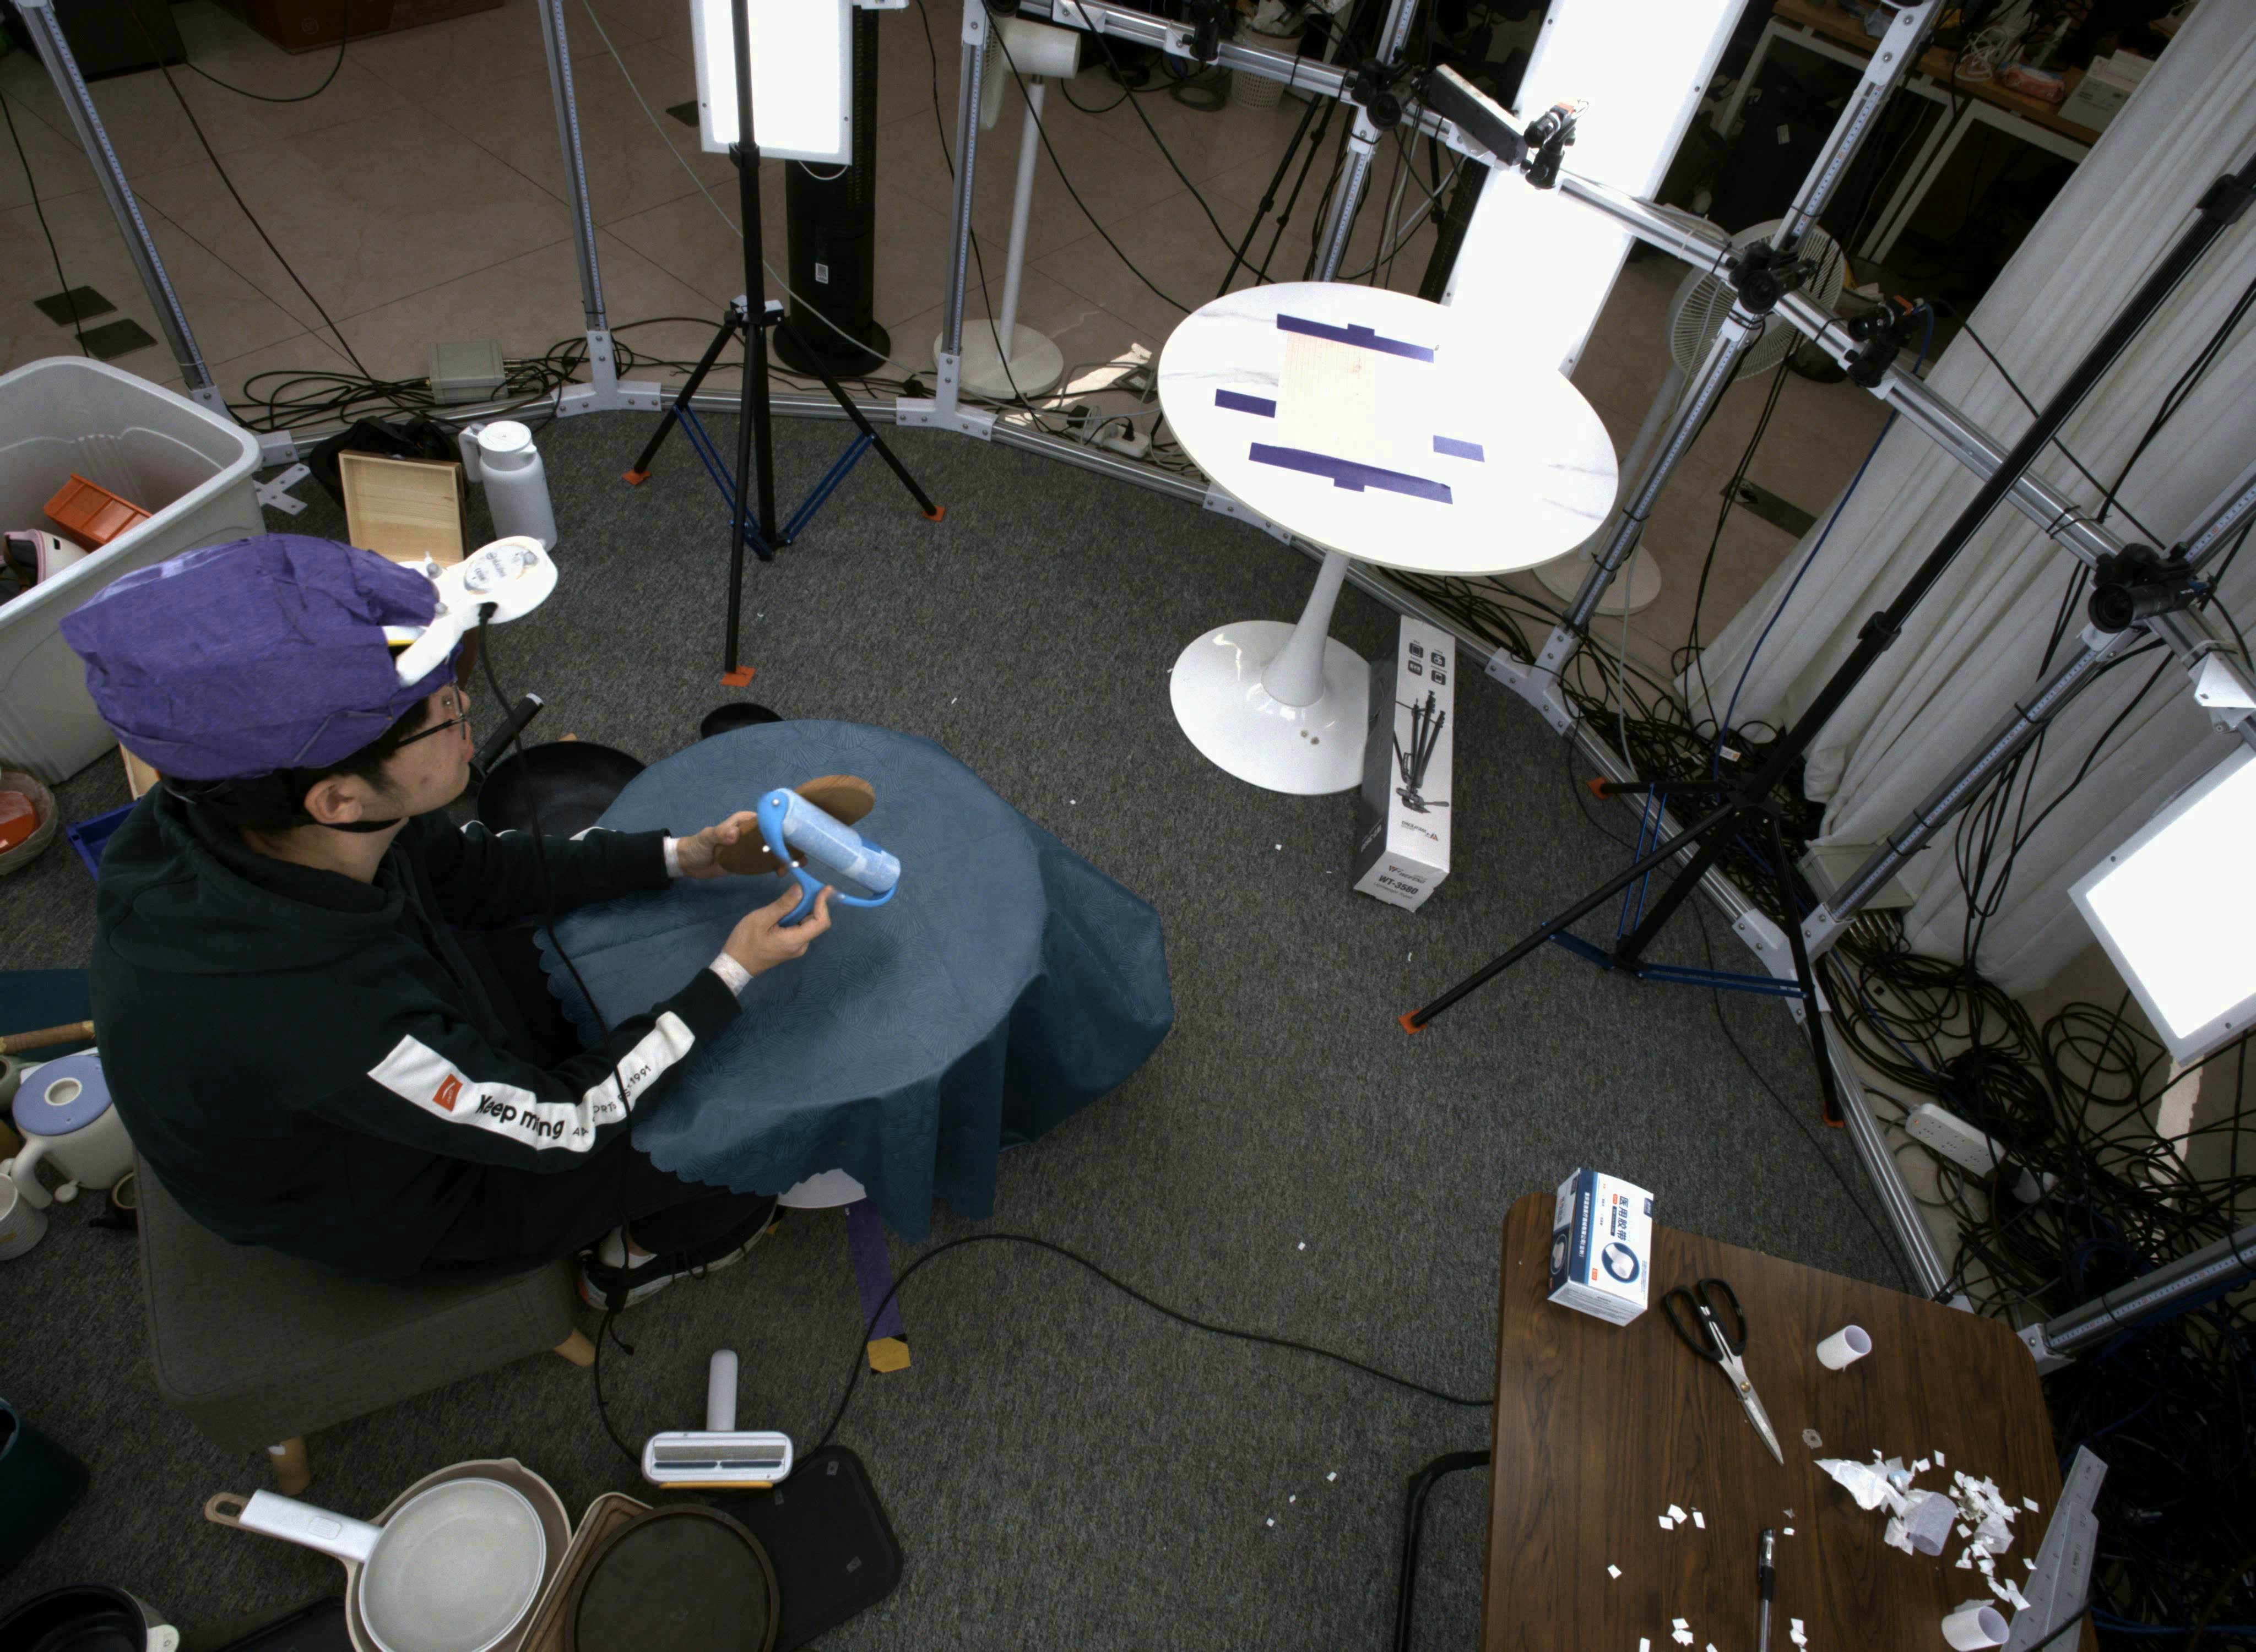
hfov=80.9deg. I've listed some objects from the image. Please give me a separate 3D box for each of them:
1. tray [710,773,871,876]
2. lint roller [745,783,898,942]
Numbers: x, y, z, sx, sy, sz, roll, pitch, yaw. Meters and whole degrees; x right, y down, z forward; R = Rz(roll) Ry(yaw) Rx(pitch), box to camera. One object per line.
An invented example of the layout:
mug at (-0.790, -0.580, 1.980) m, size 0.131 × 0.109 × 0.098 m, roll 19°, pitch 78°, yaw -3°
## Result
tray at (-0.405, 0.000, 1.551) m, size 0.105 × 0.228 × 0.020 m, roll 28°, pitch 37°, yaw -53°
lint roller at (-0.381, 0.066, 1.522) m, size 0.065 × 0.237 × 0.181 m, roll 28°, pitch 86°, yaw 37°
